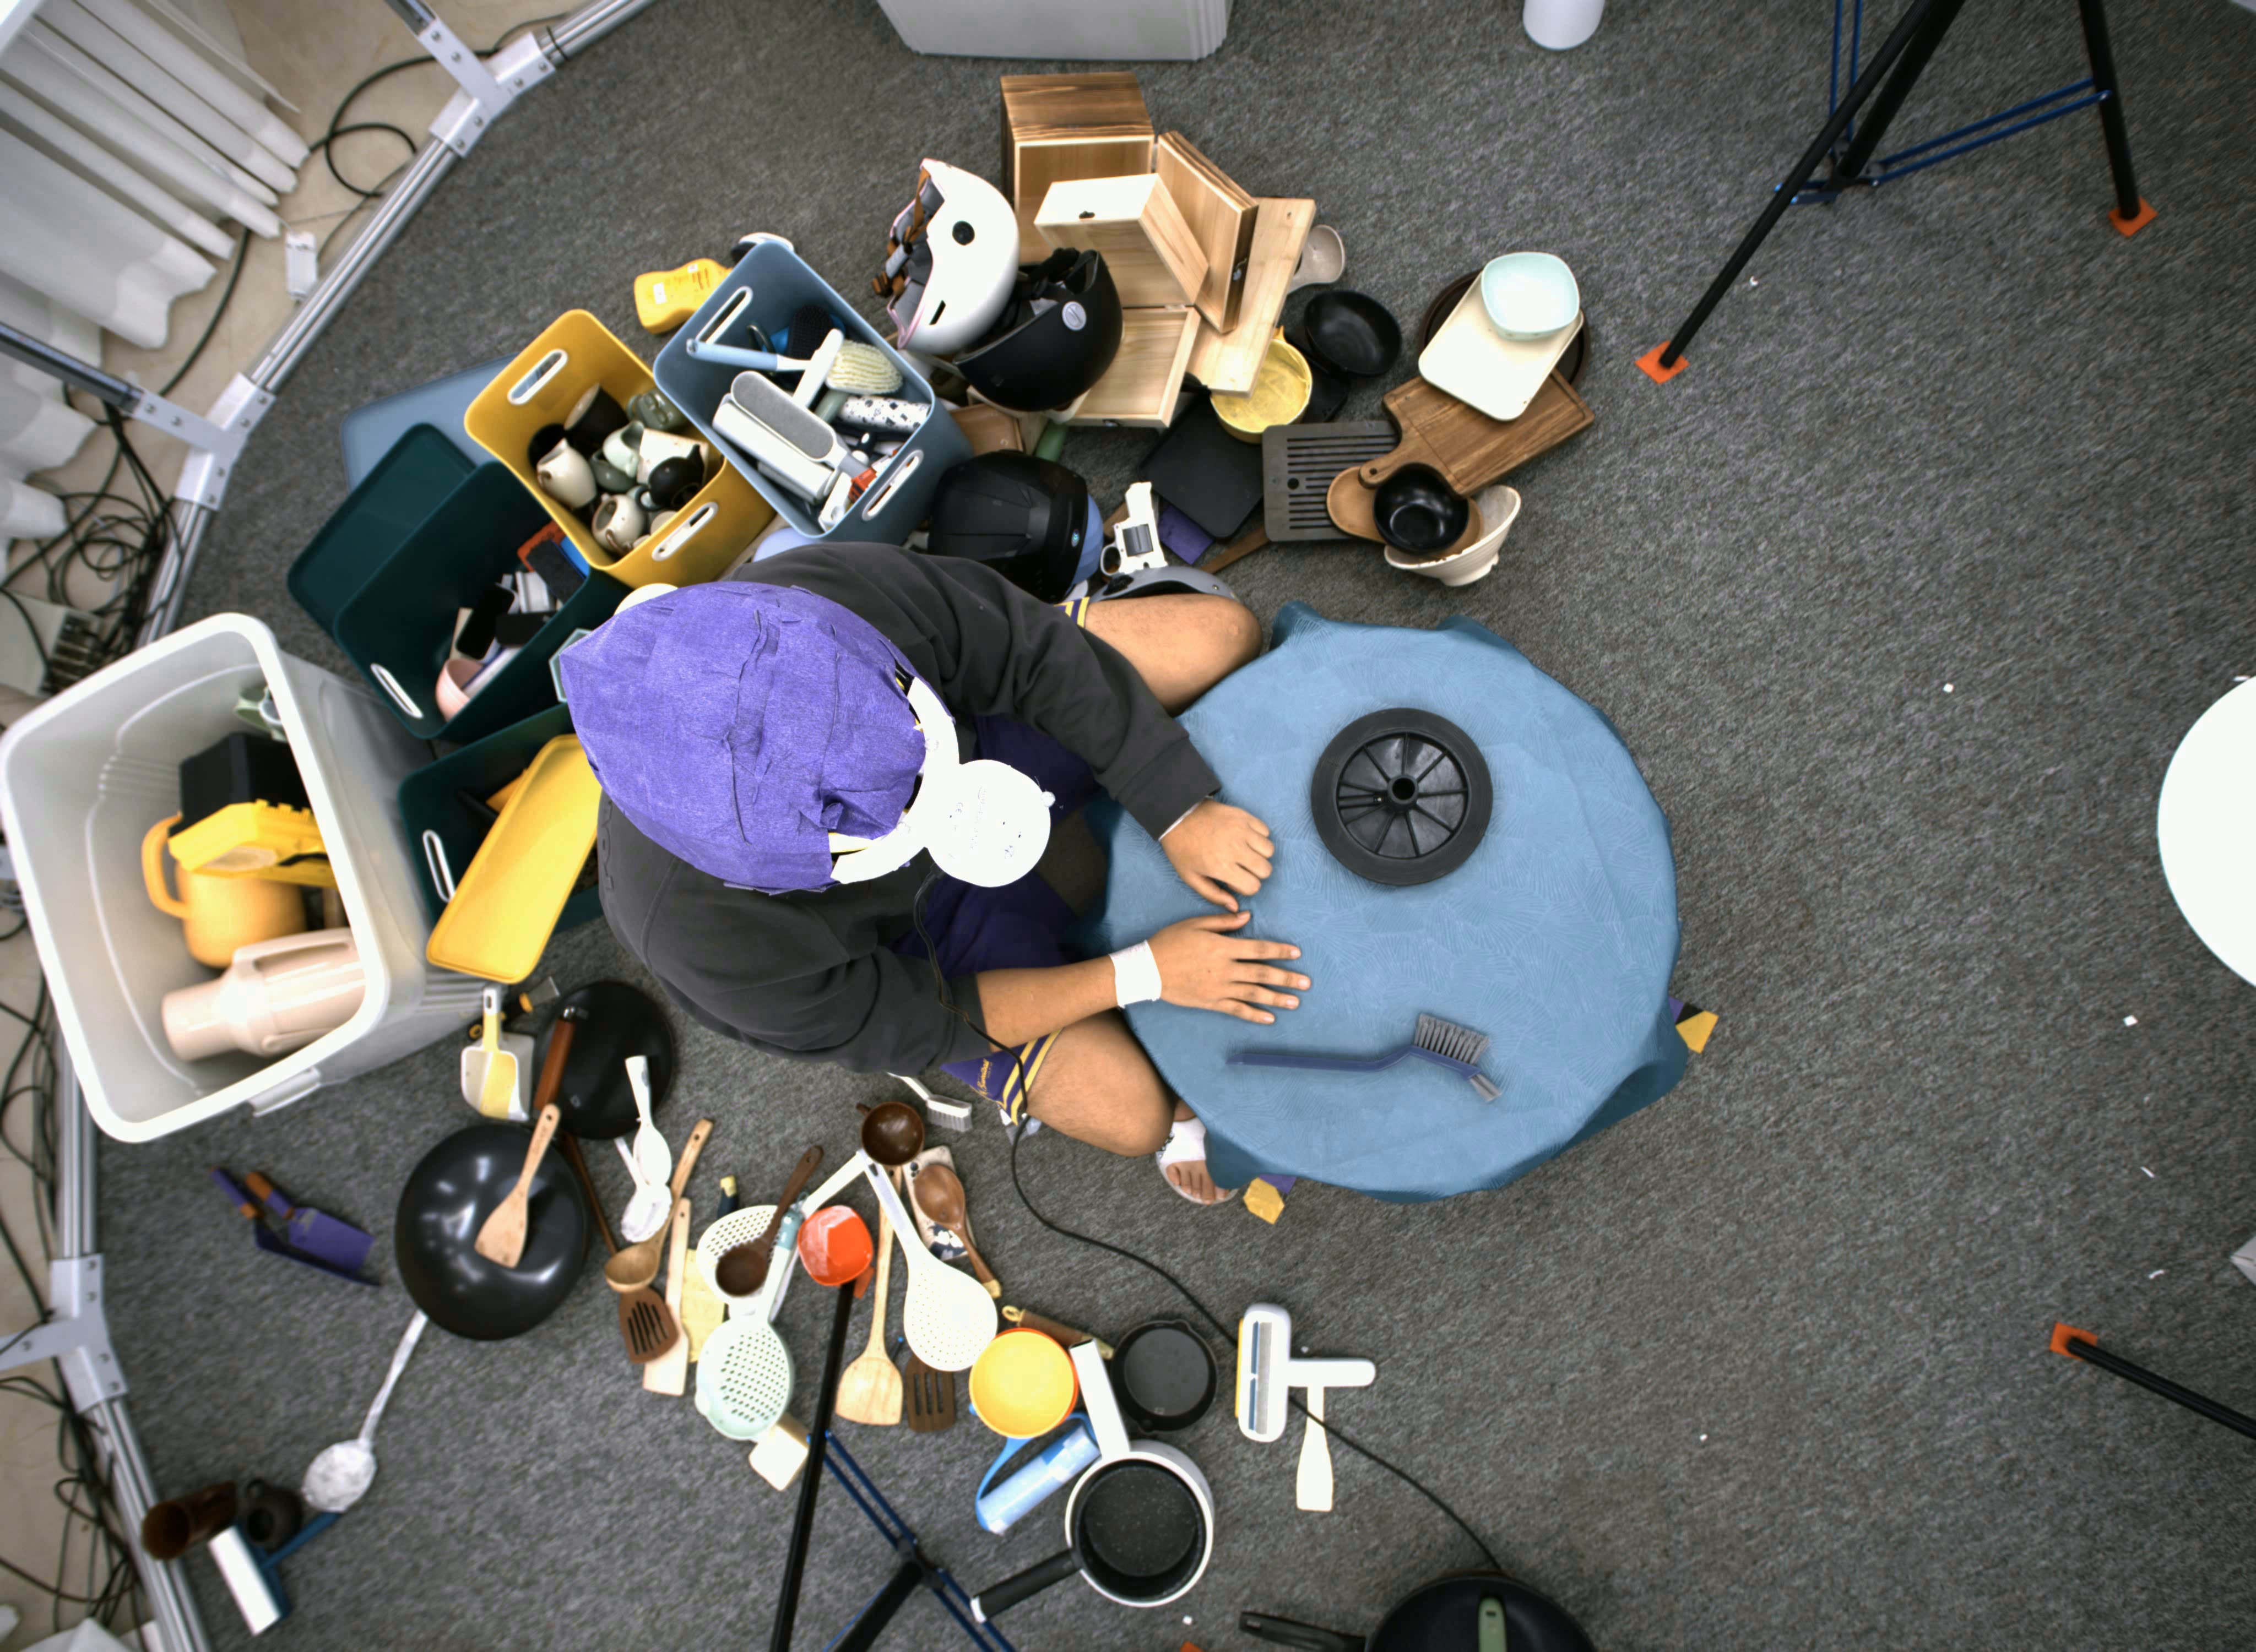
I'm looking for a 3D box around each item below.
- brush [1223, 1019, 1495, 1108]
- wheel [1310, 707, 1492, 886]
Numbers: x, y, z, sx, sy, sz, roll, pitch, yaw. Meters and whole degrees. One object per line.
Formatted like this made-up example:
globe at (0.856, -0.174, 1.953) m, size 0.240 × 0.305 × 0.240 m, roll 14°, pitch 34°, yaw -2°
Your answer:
brush at (0.238, 0.253, 1.439) m, size 0.274 × 0.033 × 0.095 m, roll -6°, pitch 86°, yaw 8°
wheel at (0.282, -0.034, 1.424) m, size 0.191 × 0.079 × 0.186 m, roll -29°, pitch 82°, yaw 8°
